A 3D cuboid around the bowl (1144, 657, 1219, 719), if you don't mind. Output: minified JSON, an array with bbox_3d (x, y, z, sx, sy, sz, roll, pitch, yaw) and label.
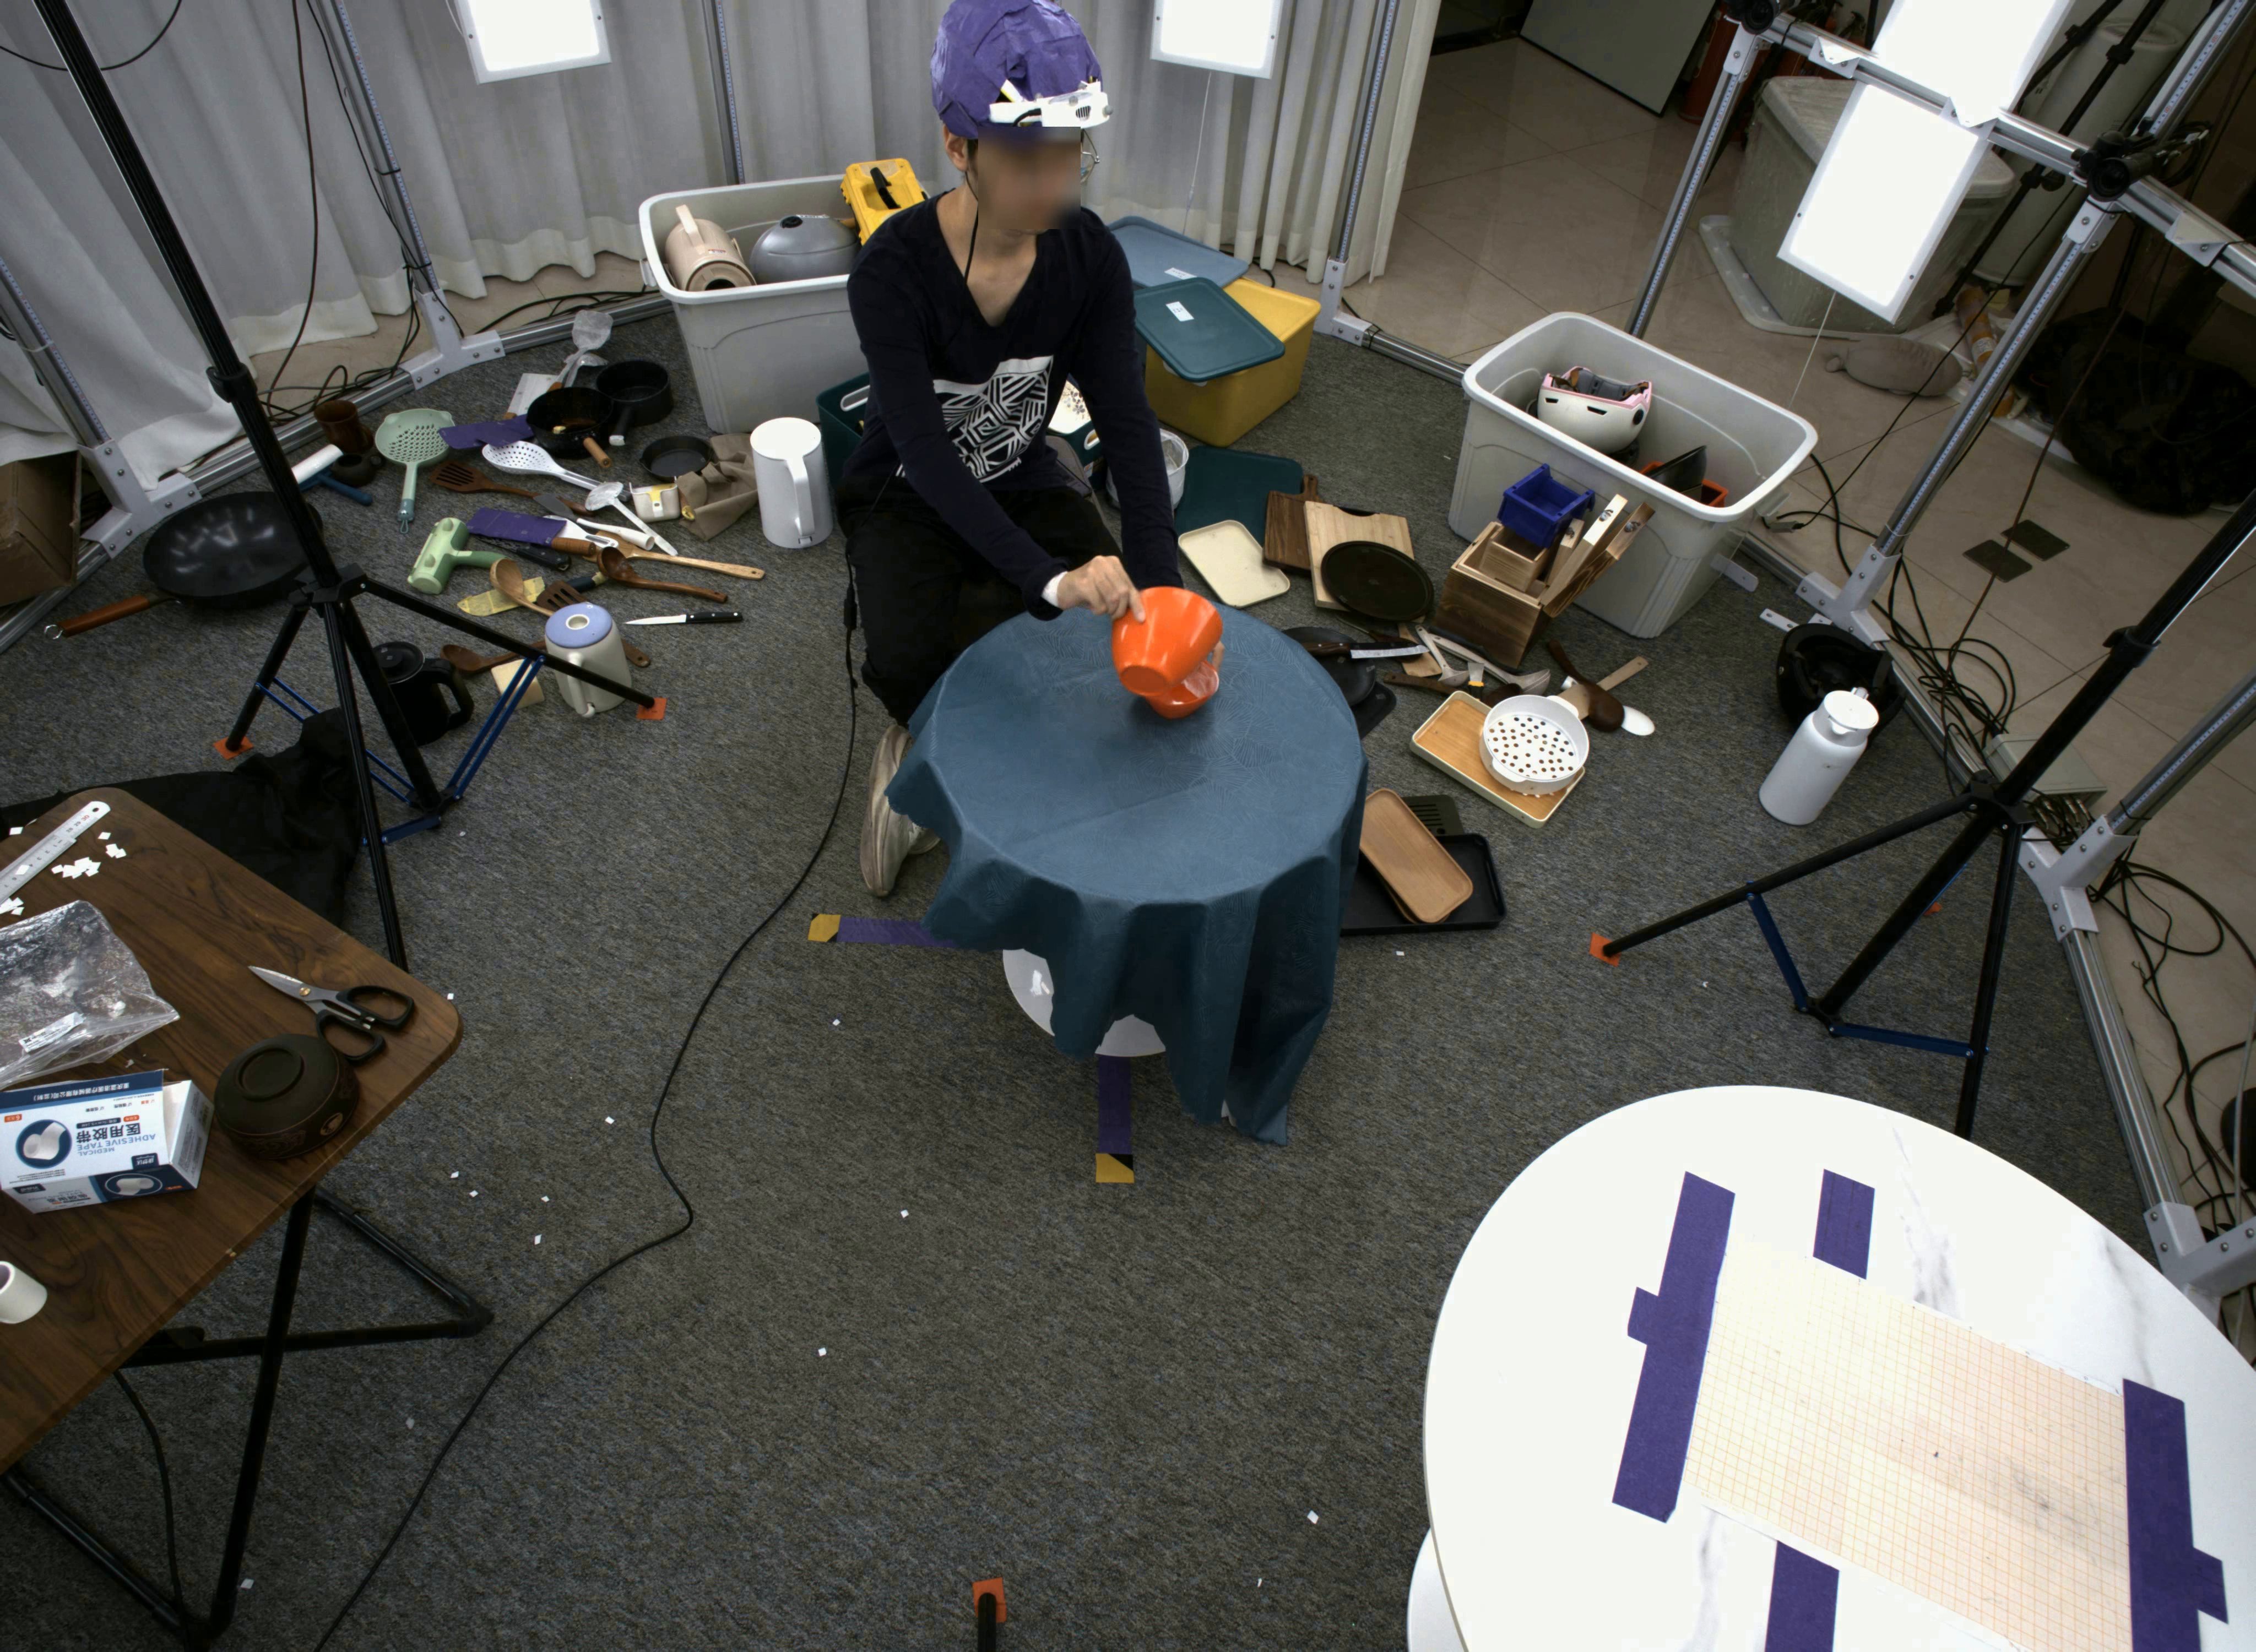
[{"bbox_3d":[0.067,-0.196,1.809,0.119,0.050,0.122,1,50,-2],"label":"bowl"}]

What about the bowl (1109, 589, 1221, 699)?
[{"bbox_3d":[0.039,-0.229,1.682,0.148,0.145,0.106,13,63,6],"label":"bowl"}]
